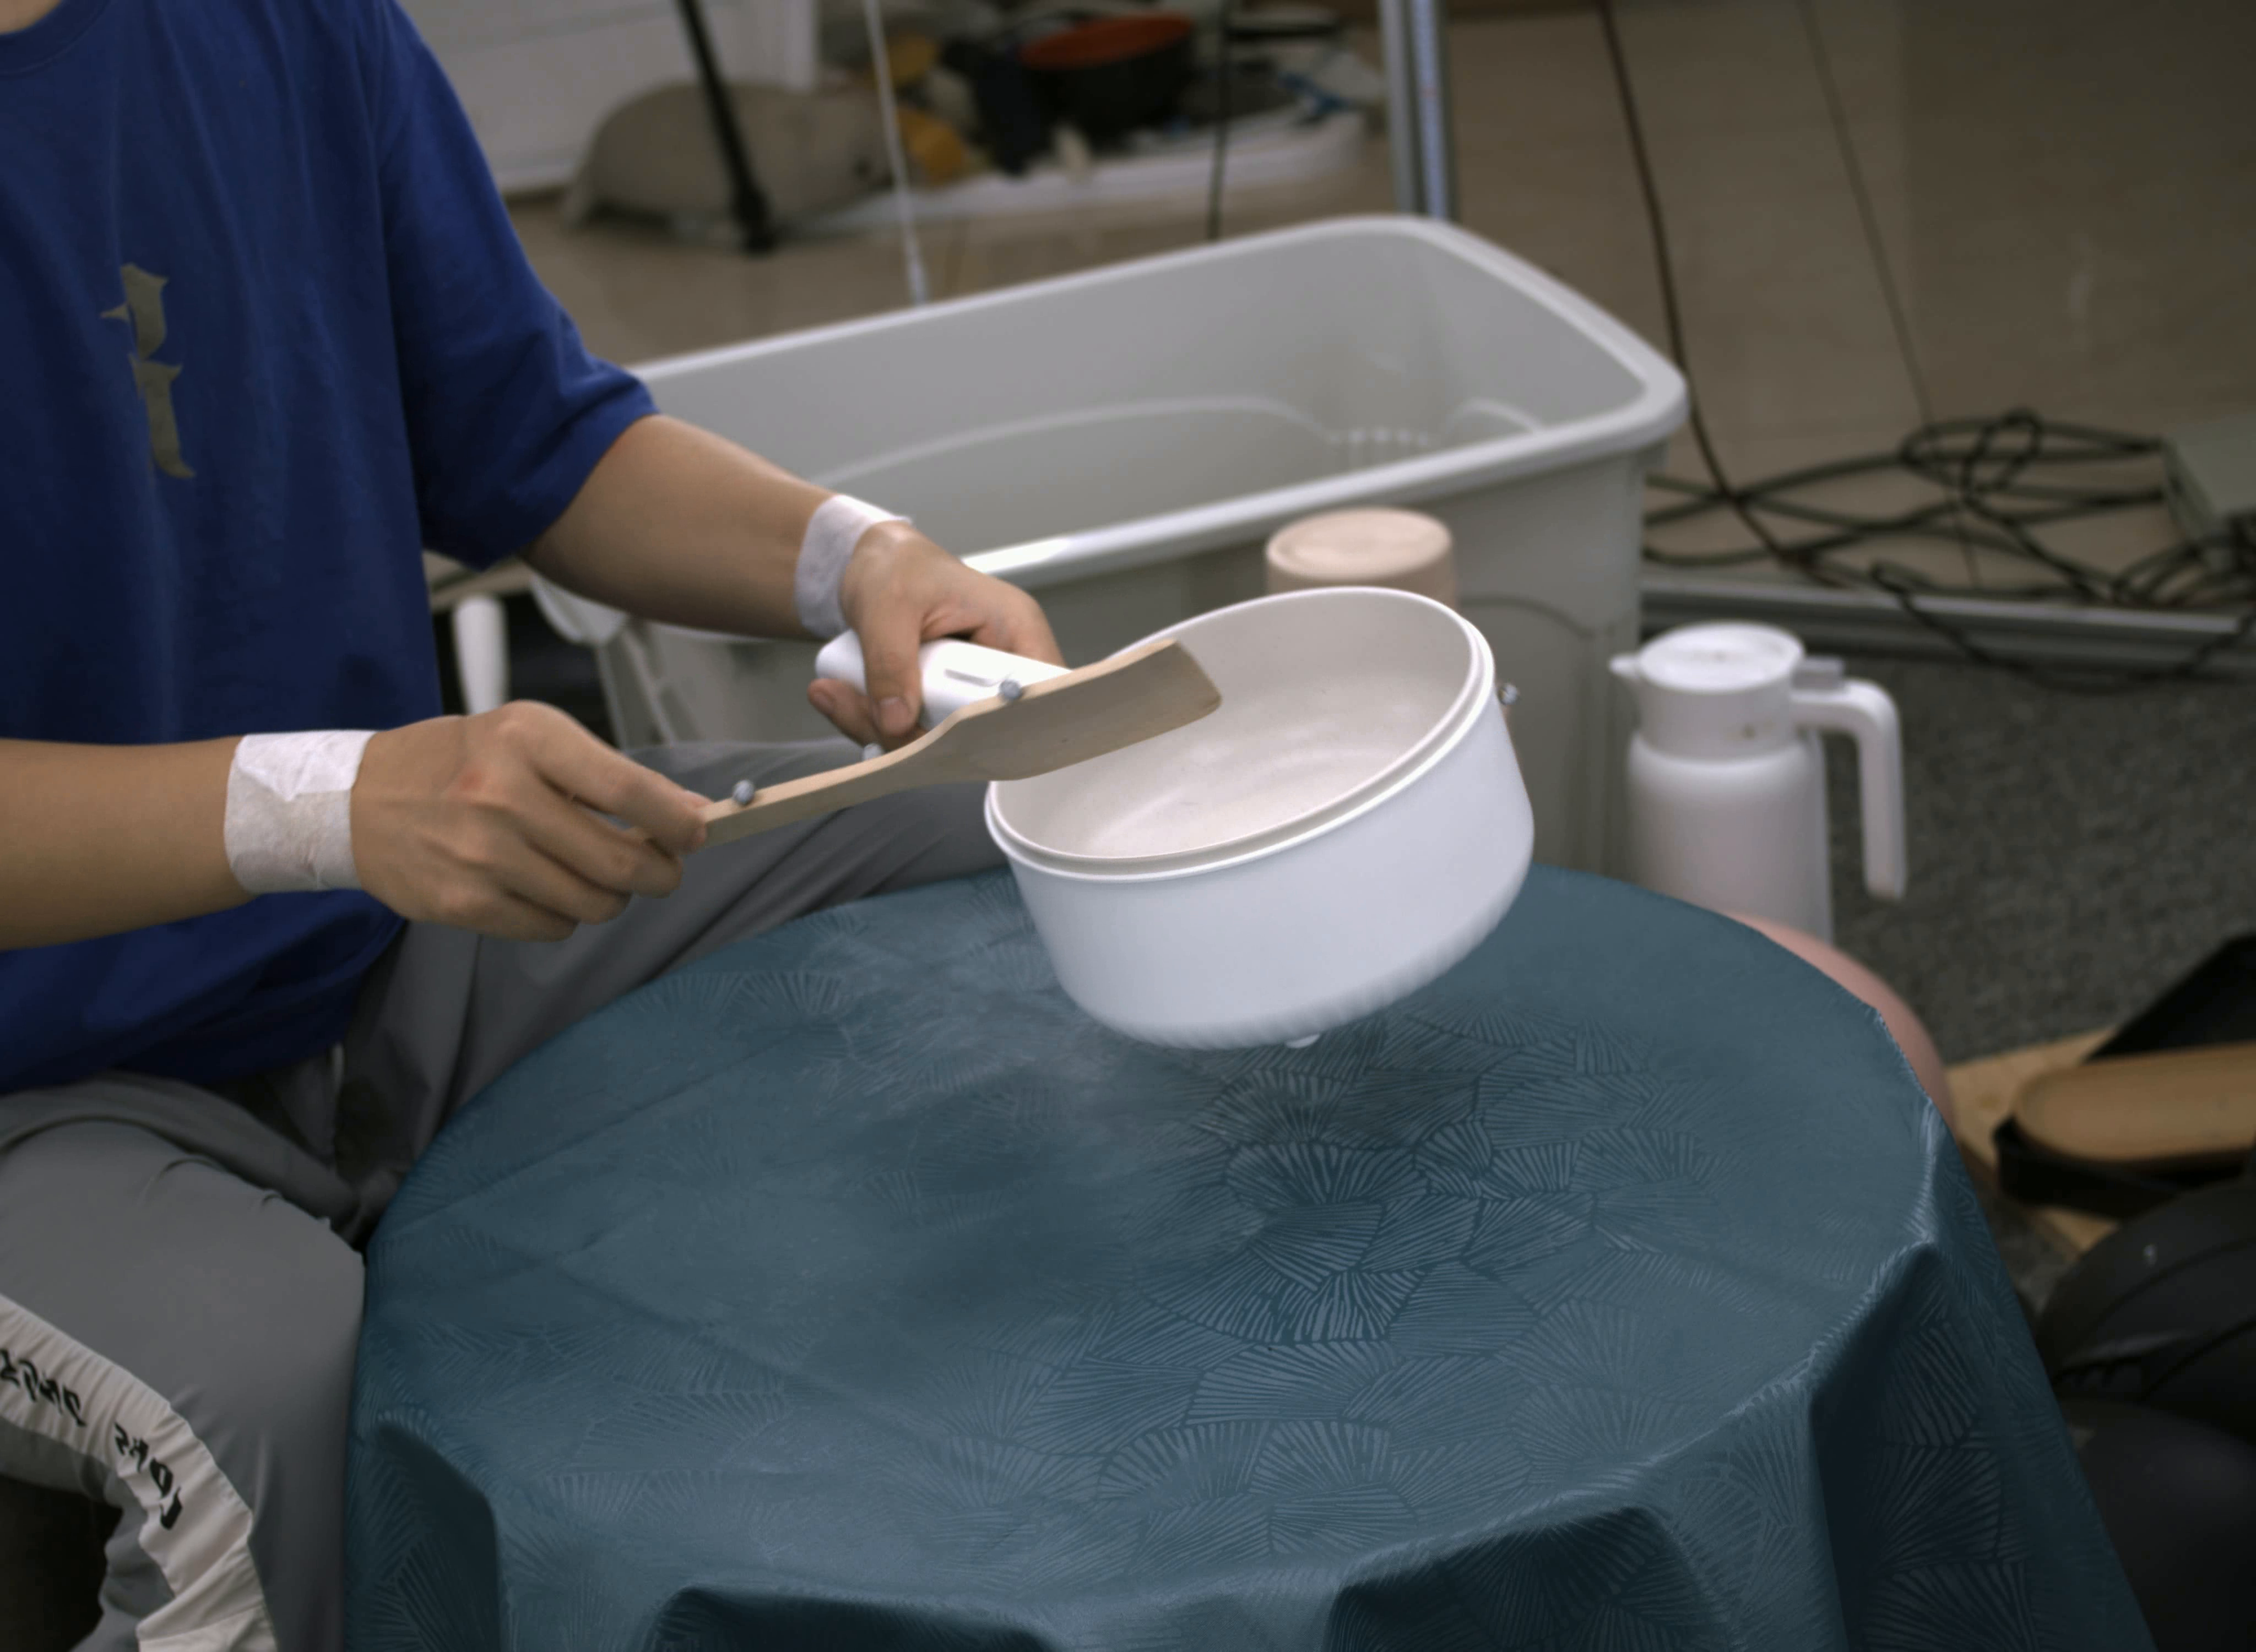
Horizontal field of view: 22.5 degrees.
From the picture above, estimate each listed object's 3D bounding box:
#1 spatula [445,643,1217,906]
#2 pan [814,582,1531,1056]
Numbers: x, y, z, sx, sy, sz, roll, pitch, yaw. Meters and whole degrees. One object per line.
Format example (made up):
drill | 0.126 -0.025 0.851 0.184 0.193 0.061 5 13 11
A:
spatula | -0.112 -0.014 2.064 0.293 0.073 0.010 -16 67 10
pan | 0.006 -0.011 2.219 0.199 0.104 0.352 -39 32 -27
